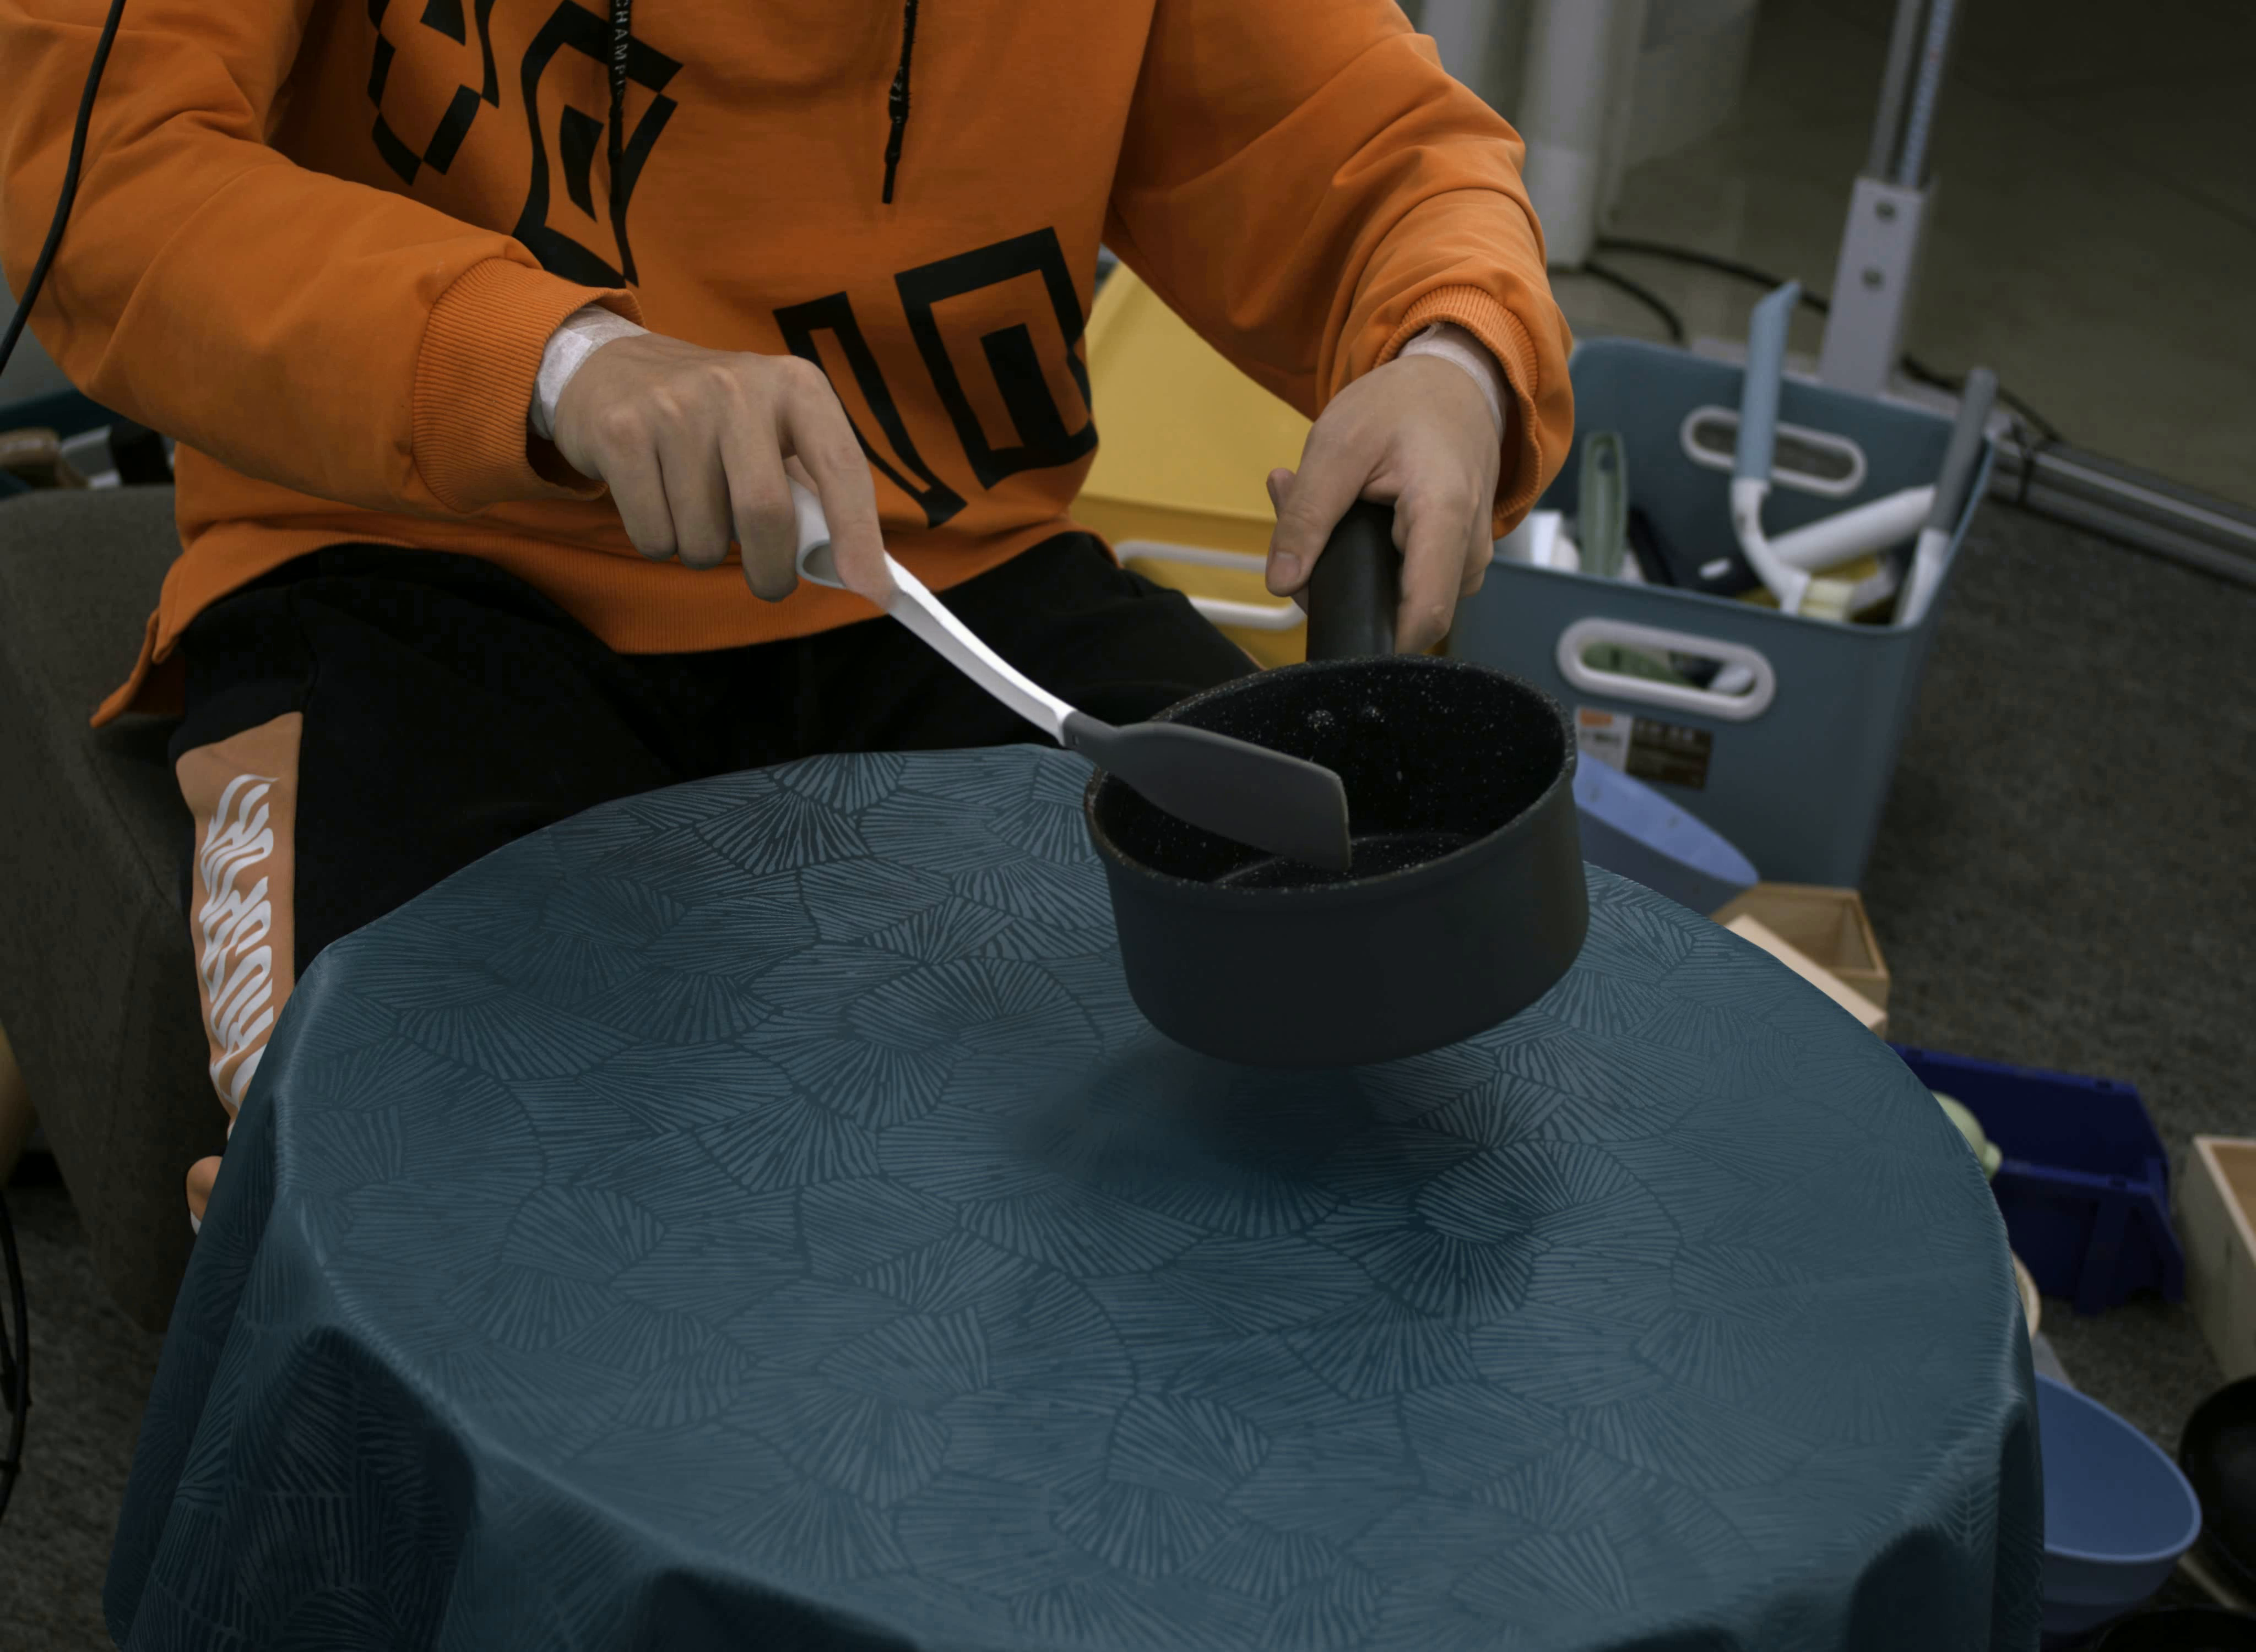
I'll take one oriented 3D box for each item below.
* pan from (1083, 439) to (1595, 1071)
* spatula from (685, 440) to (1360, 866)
[{"bbox_3d":[0.083,-0.029,1.902,0.172,0.086,0.330,-5,29,10],"label":"pan"},{"bbox_3d":[-0.039,-0.058,1.825,0.289,0.058,0.032,30,55,28],"label":"spatula"}]
